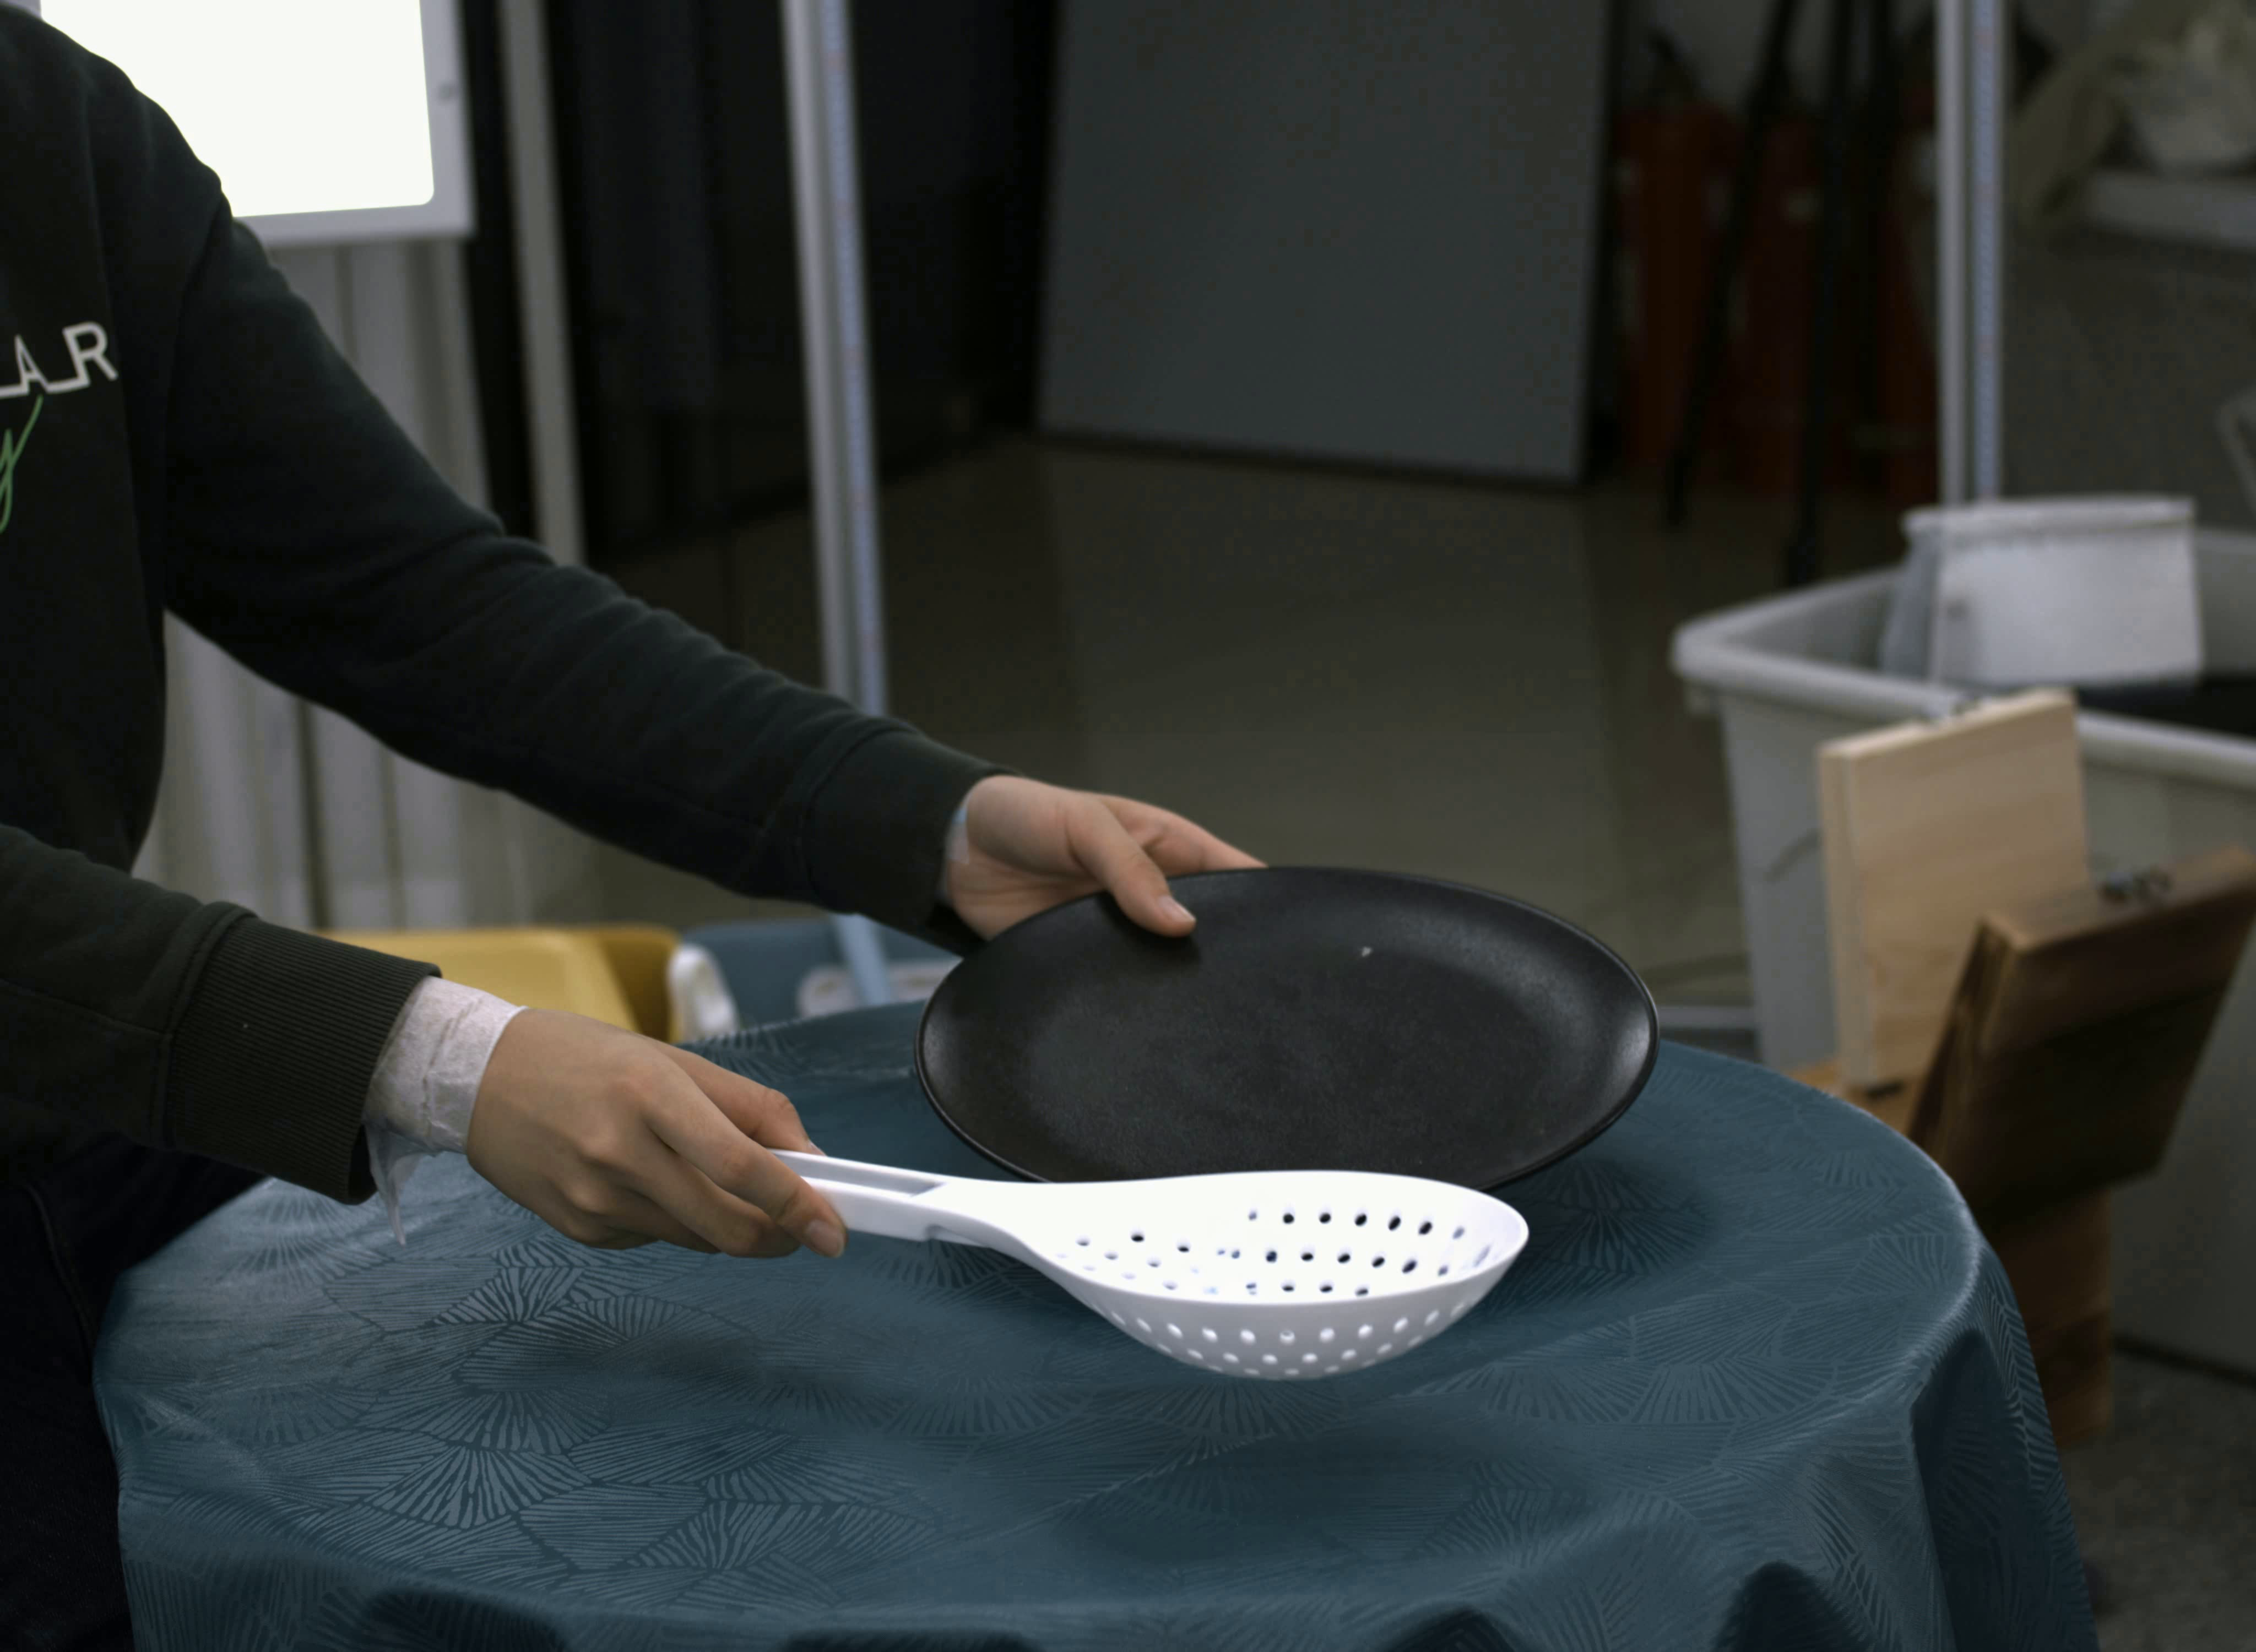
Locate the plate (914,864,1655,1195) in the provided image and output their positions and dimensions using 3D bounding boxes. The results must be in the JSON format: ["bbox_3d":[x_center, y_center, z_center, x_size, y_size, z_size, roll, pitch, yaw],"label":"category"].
[{"bbox_3d":[0.051,0.074,1.744,0.241,0.023,0.245,-3,25,0],"label":"plate"}]

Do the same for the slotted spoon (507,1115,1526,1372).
[{"bbox_3d":[-0.043,0.111,1.577,0.352,0.046,0.133,10,15,34],"label":"slotted spoon"}]
